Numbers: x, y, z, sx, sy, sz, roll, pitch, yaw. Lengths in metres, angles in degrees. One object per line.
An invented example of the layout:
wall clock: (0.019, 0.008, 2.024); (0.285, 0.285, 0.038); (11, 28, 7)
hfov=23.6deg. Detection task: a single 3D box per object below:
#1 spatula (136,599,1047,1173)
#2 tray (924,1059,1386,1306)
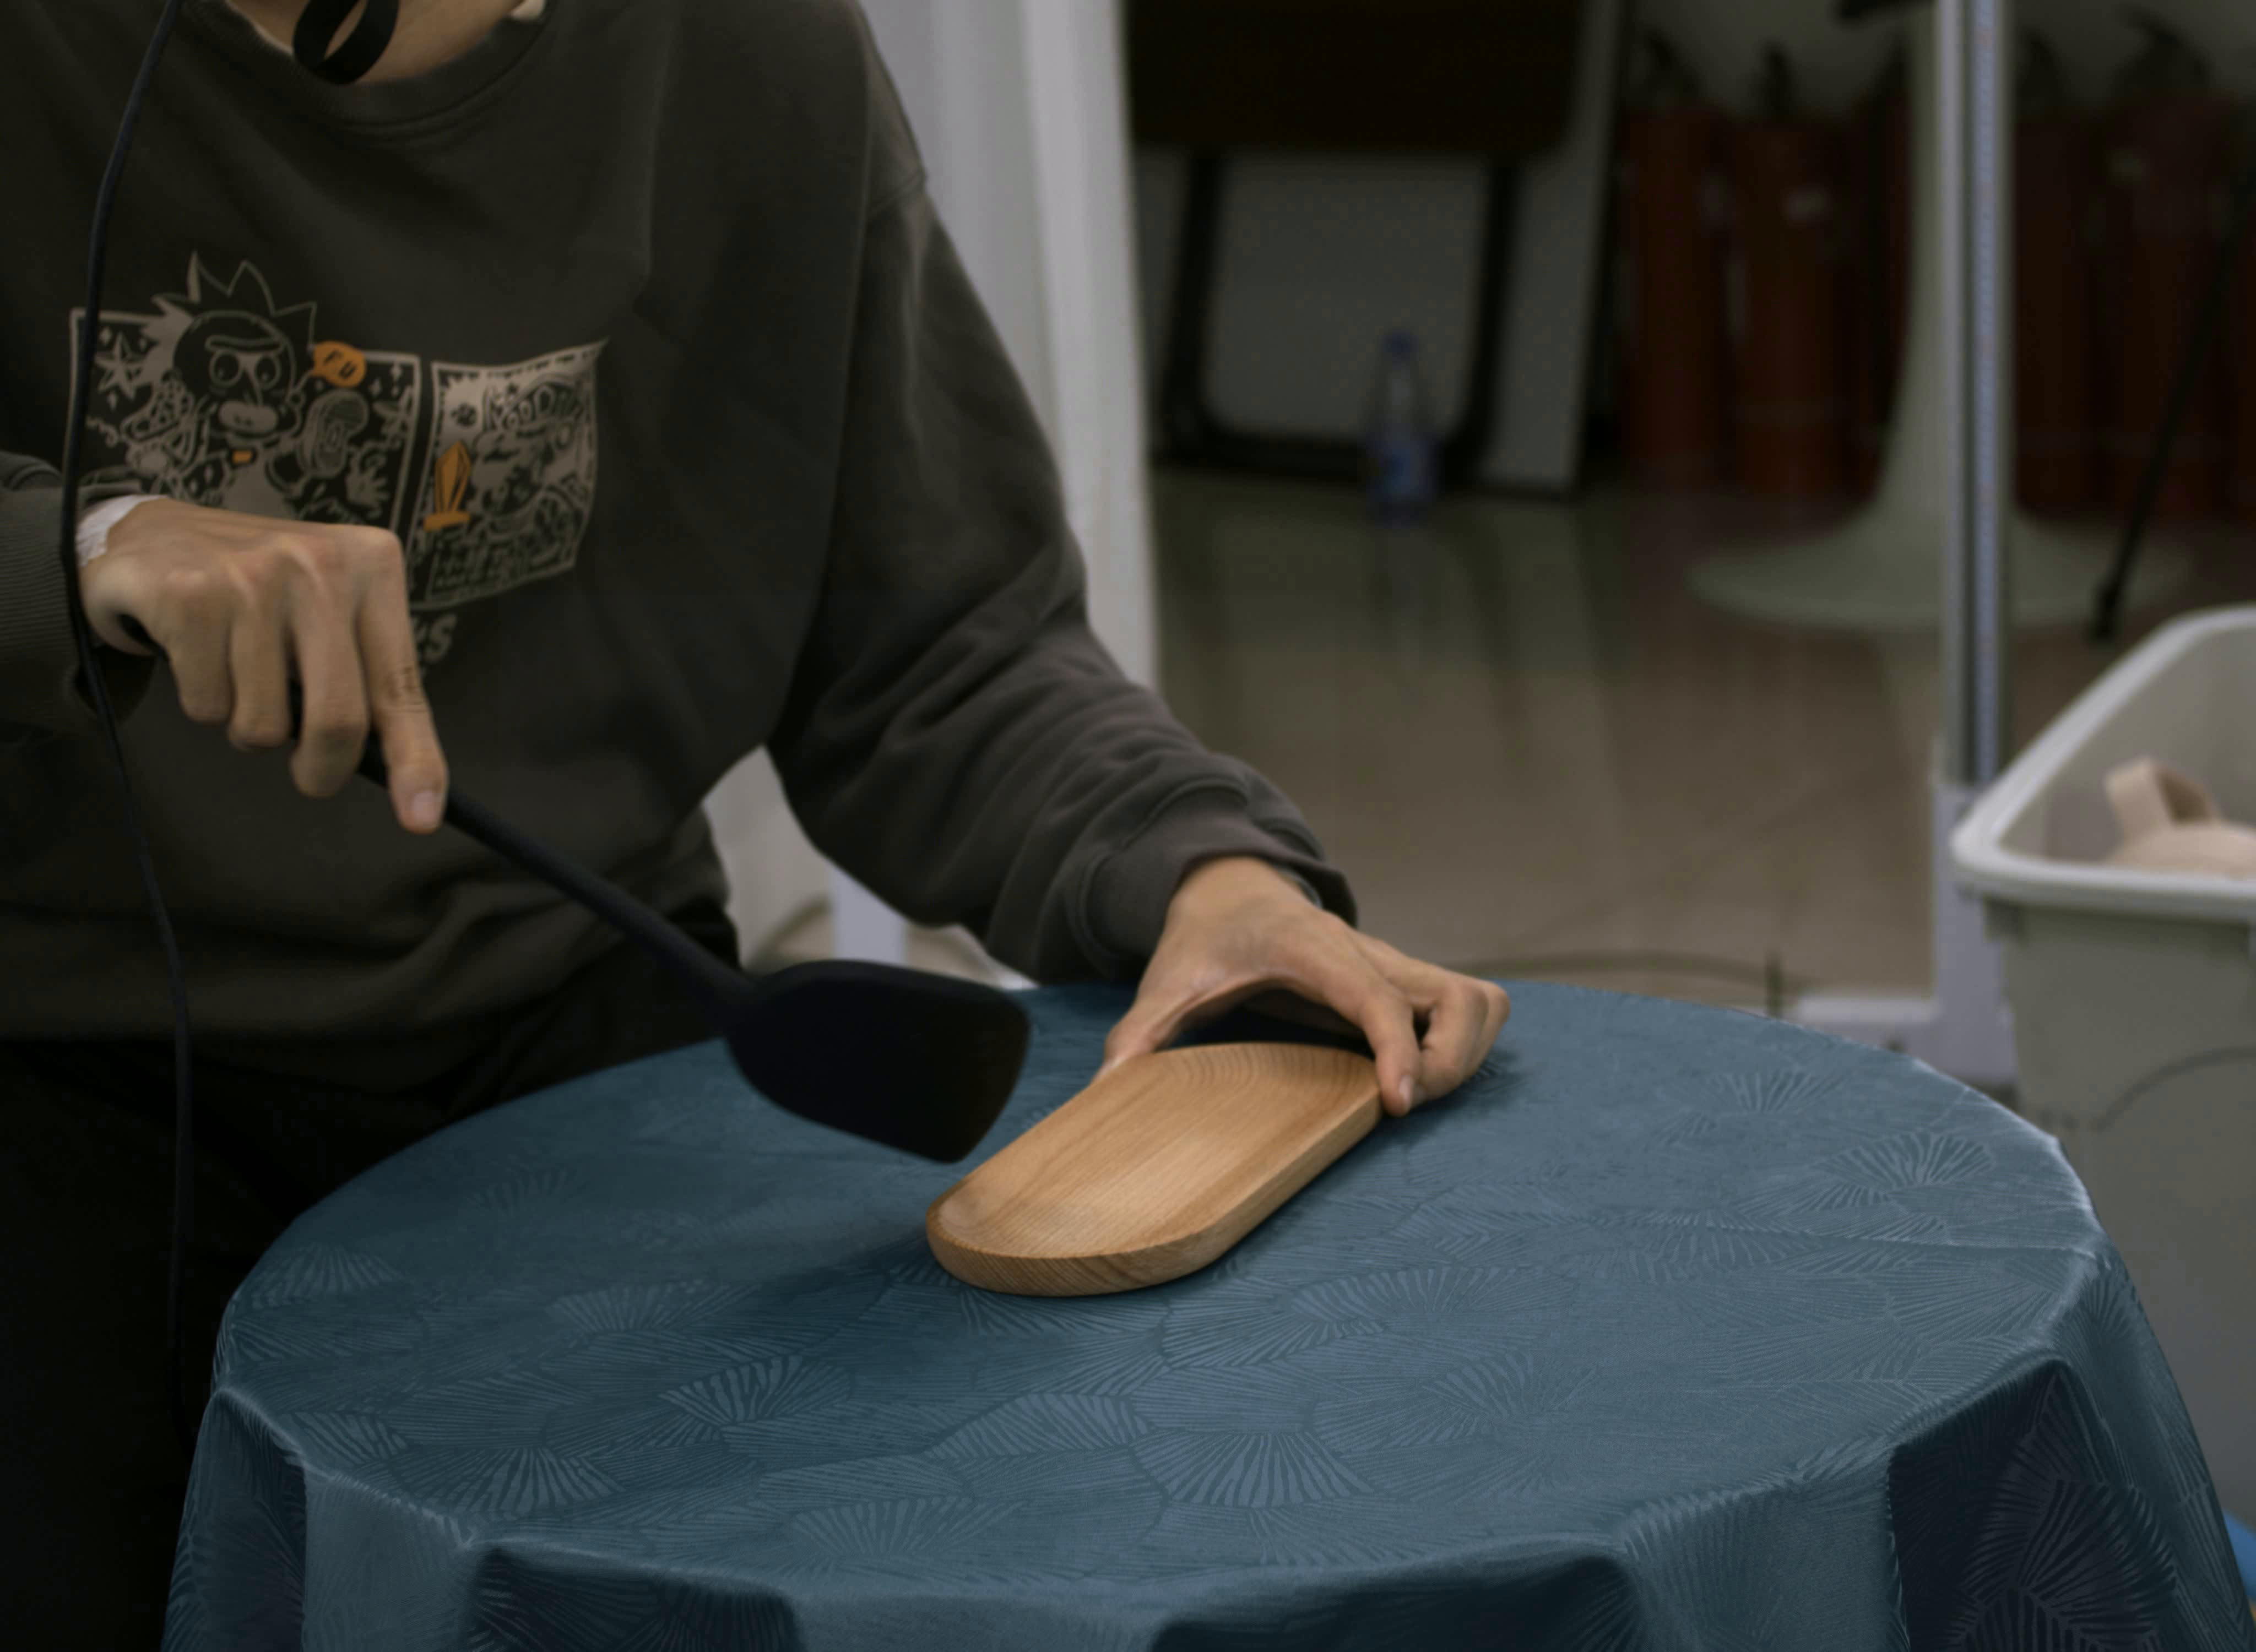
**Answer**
spatula: (-0.176, 0.009, 1.728); (0.325, 0.100, 0.040); (33, 47, 8)
tray: (0.012, 0.115, 1.768); (0.102, 0.020, 0.228); (1, 15, 25)
